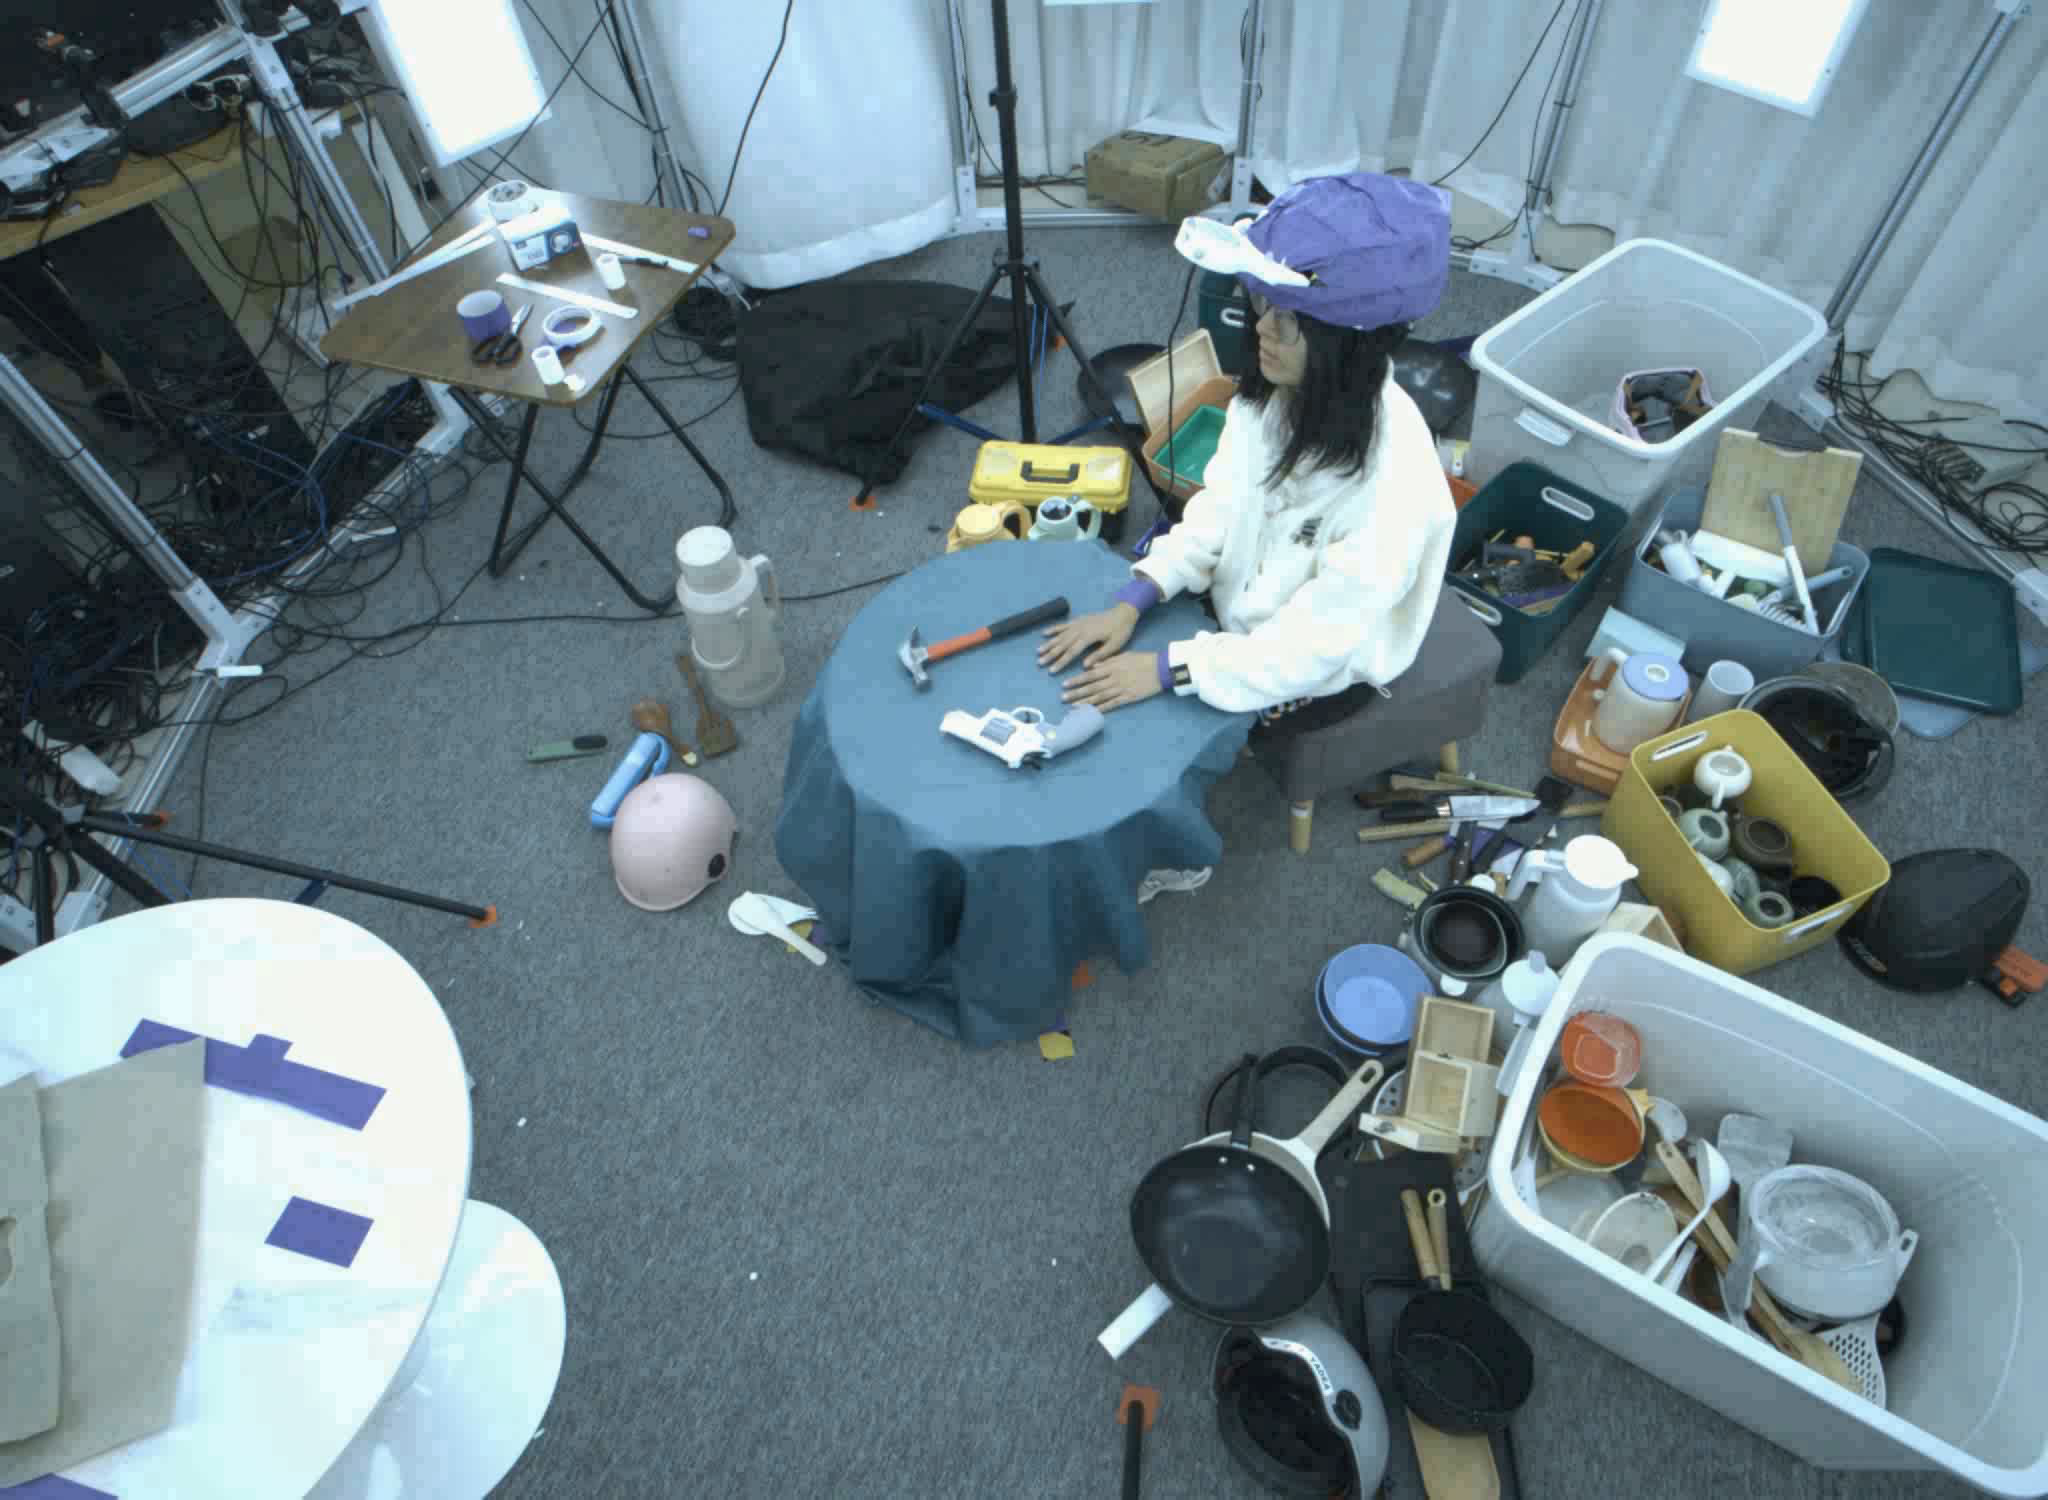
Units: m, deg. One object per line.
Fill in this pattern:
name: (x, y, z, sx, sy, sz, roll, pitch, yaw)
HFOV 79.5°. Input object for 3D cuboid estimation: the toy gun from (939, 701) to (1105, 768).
toy gun: (-0.003, -0.039, 1.791, 0.206, 0.039, 0.142, 24, 60, 18)

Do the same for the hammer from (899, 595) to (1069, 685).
hammer: (-0.061, -0.185, 1.903, 0.279, 0.027, 0.108, -21, 47, -13)
